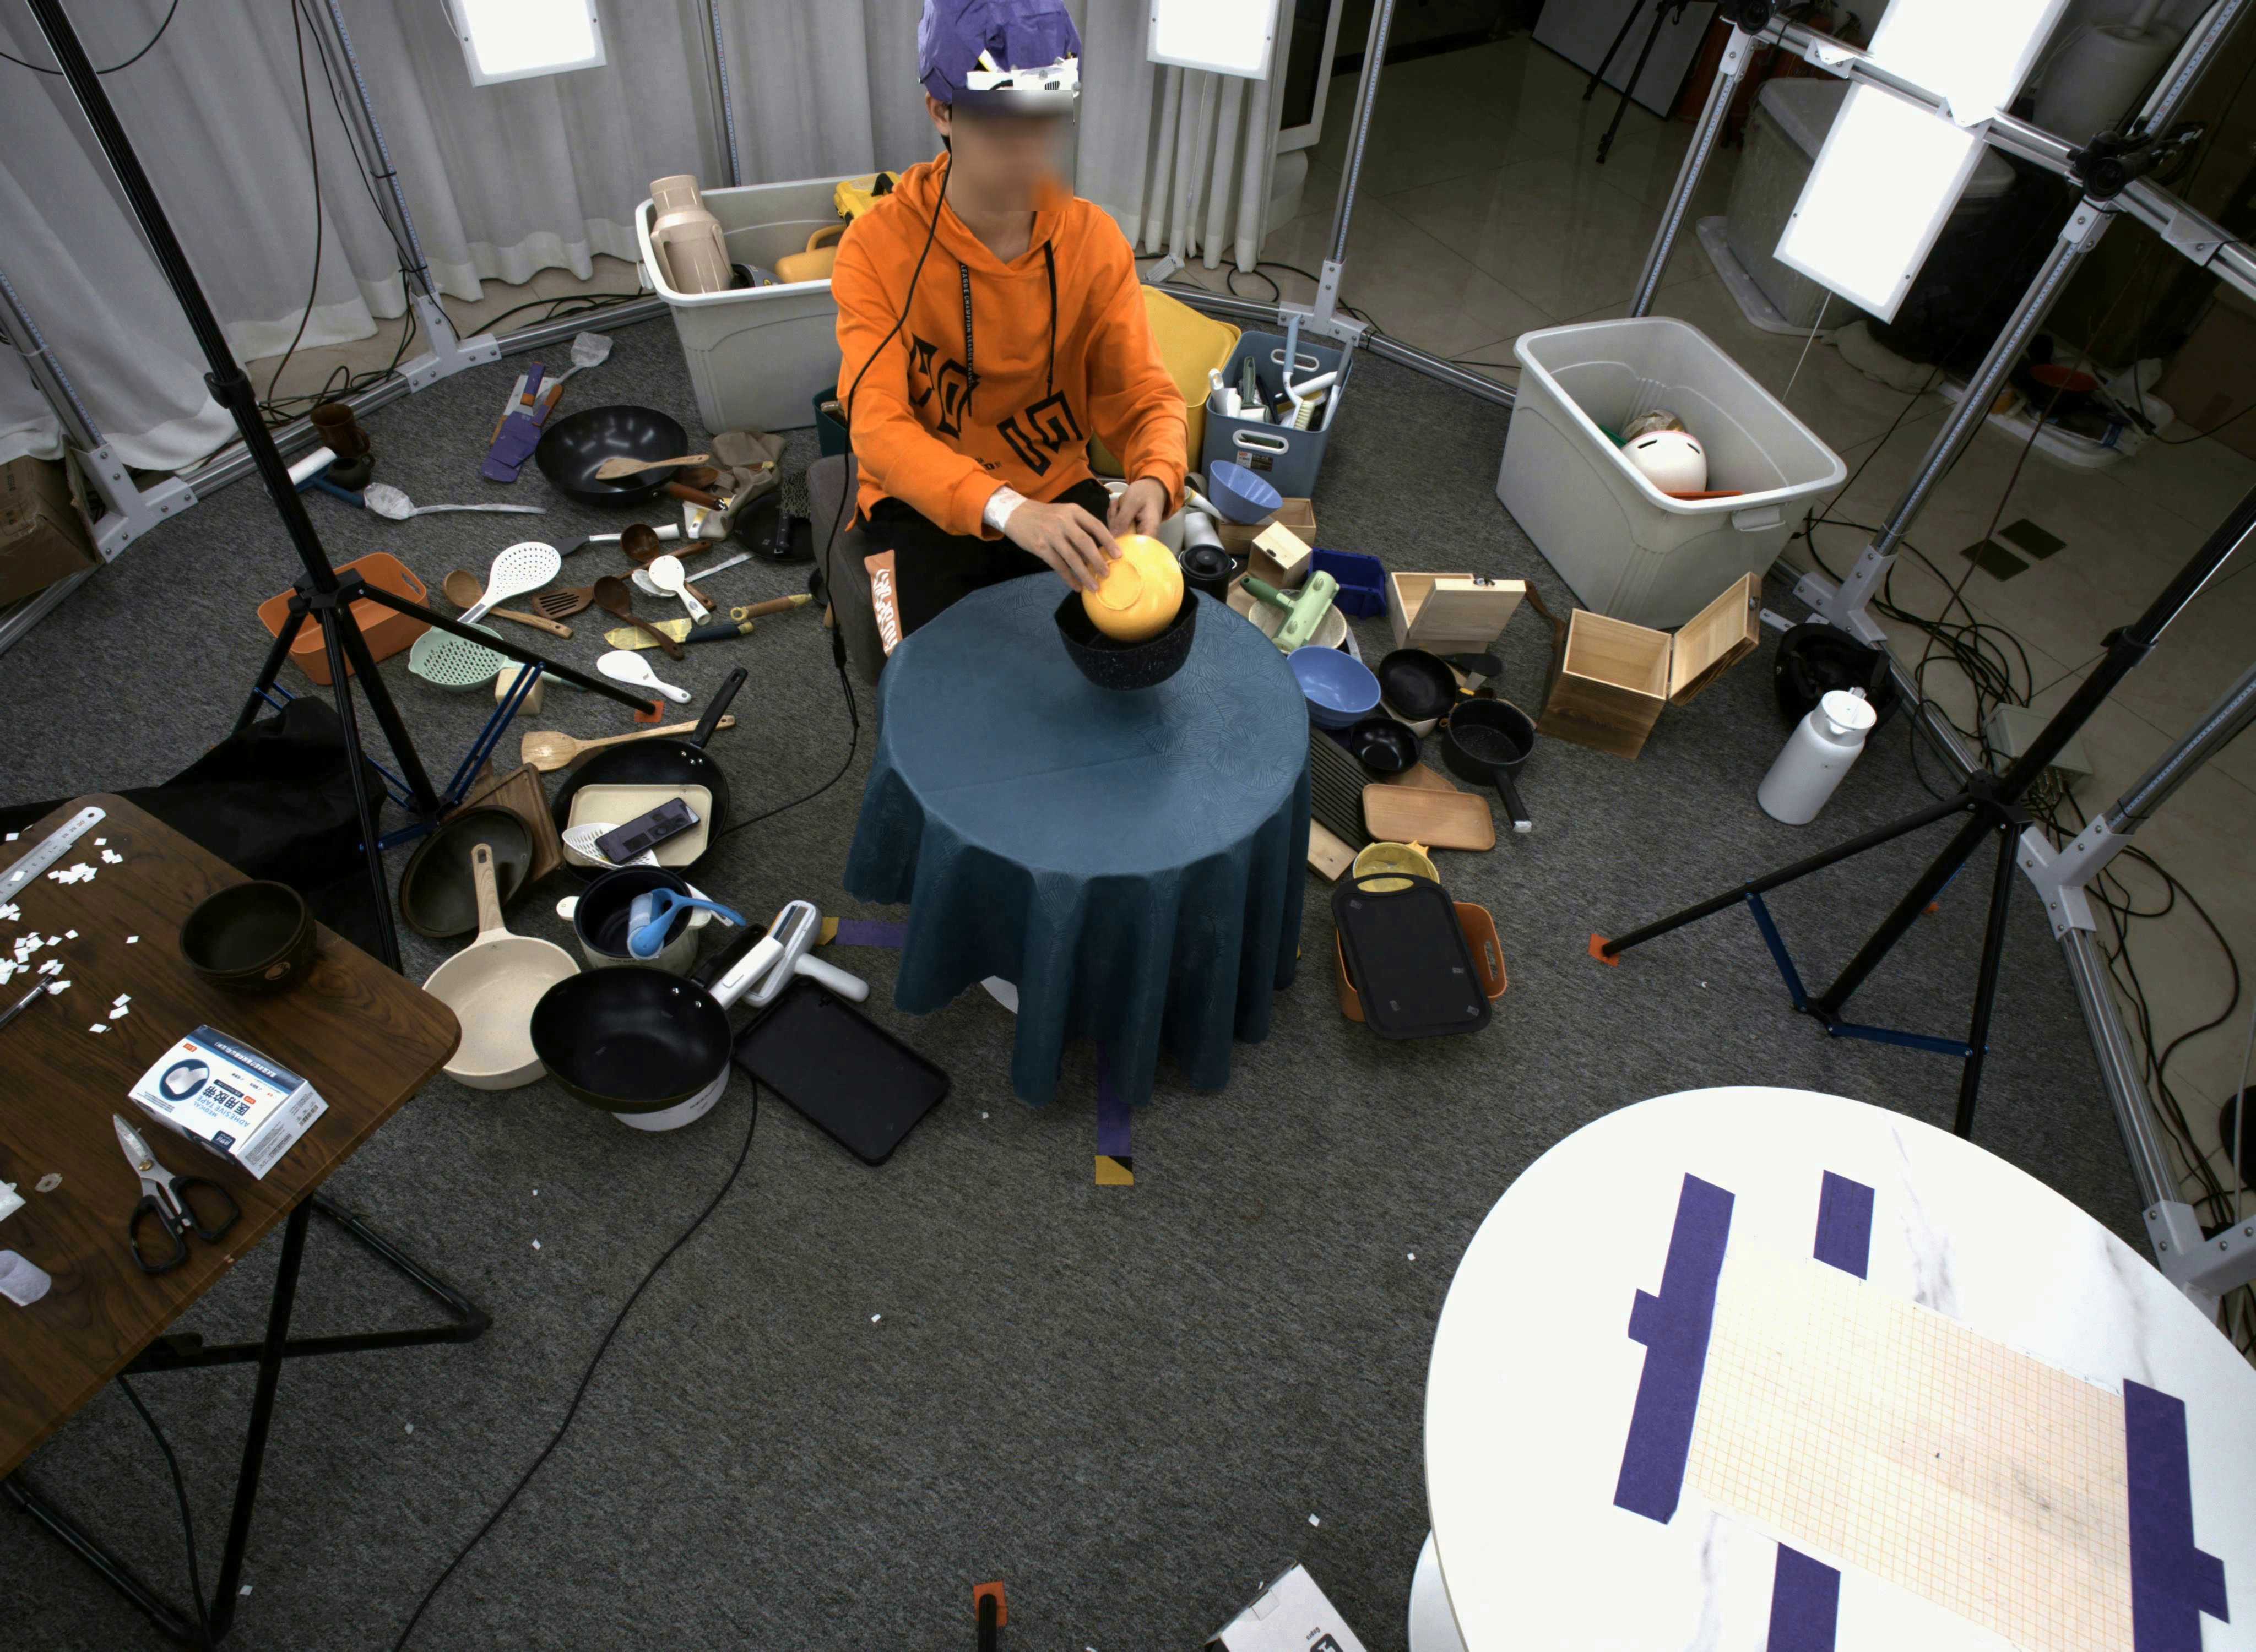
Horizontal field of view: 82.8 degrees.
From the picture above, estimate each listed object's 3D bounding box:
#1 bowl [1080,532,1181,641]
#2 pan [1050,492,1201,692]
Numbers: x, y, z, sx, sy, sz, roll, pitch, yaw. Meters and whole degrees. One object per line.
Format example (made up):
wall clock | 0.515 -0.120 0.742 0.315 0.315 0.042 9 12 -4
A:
bowl | -0.006 -0.319 1.698 0.146 0.144 0.060 27 10 18
pan | 0.001 -0.329 1.799 0.207 0.105 0.351 -7 46 7
